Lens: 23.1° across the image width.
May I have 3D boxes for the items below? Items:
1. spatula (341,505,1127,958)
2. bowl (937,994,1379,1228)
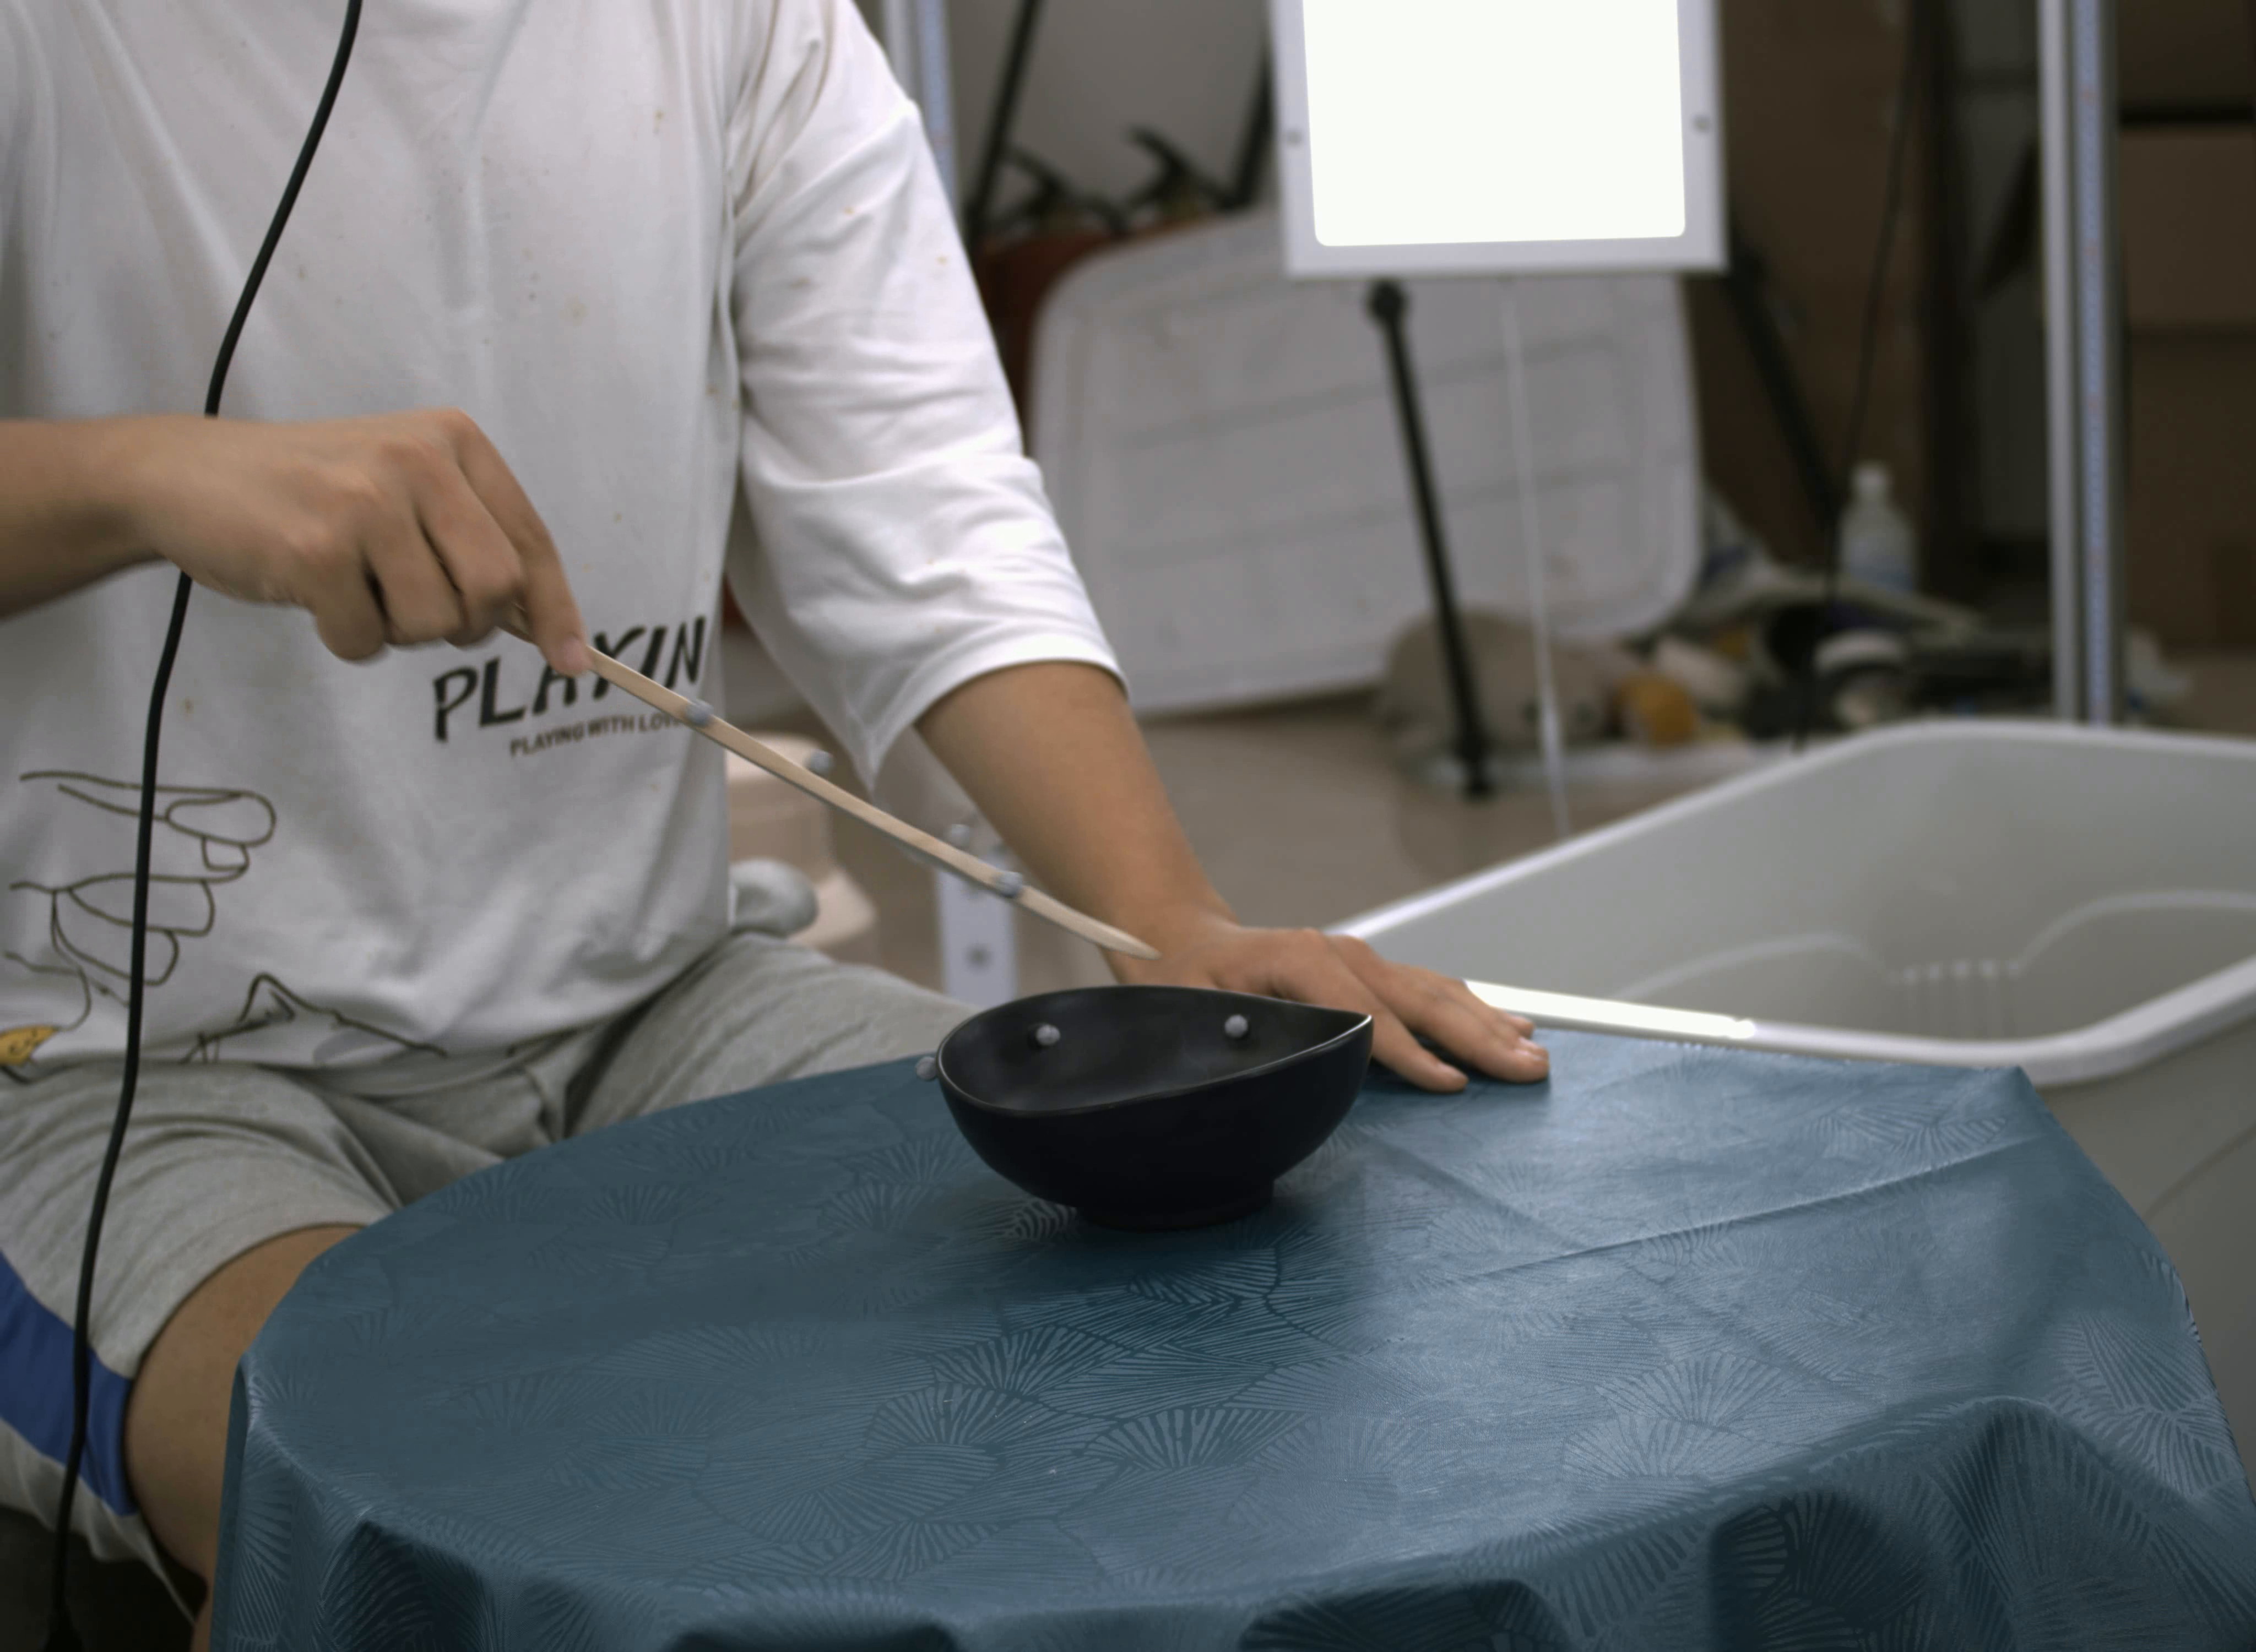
[{"bbox_3d":[-0.129,-0.029,1.790,0.290,0.010,0.073,31,-3,-15],"label":"spatula"},{"bbox_3d":[0.013,0.098,1.878,0.140,0.067,0.166,6,15,40],"label":"bowl"}]
